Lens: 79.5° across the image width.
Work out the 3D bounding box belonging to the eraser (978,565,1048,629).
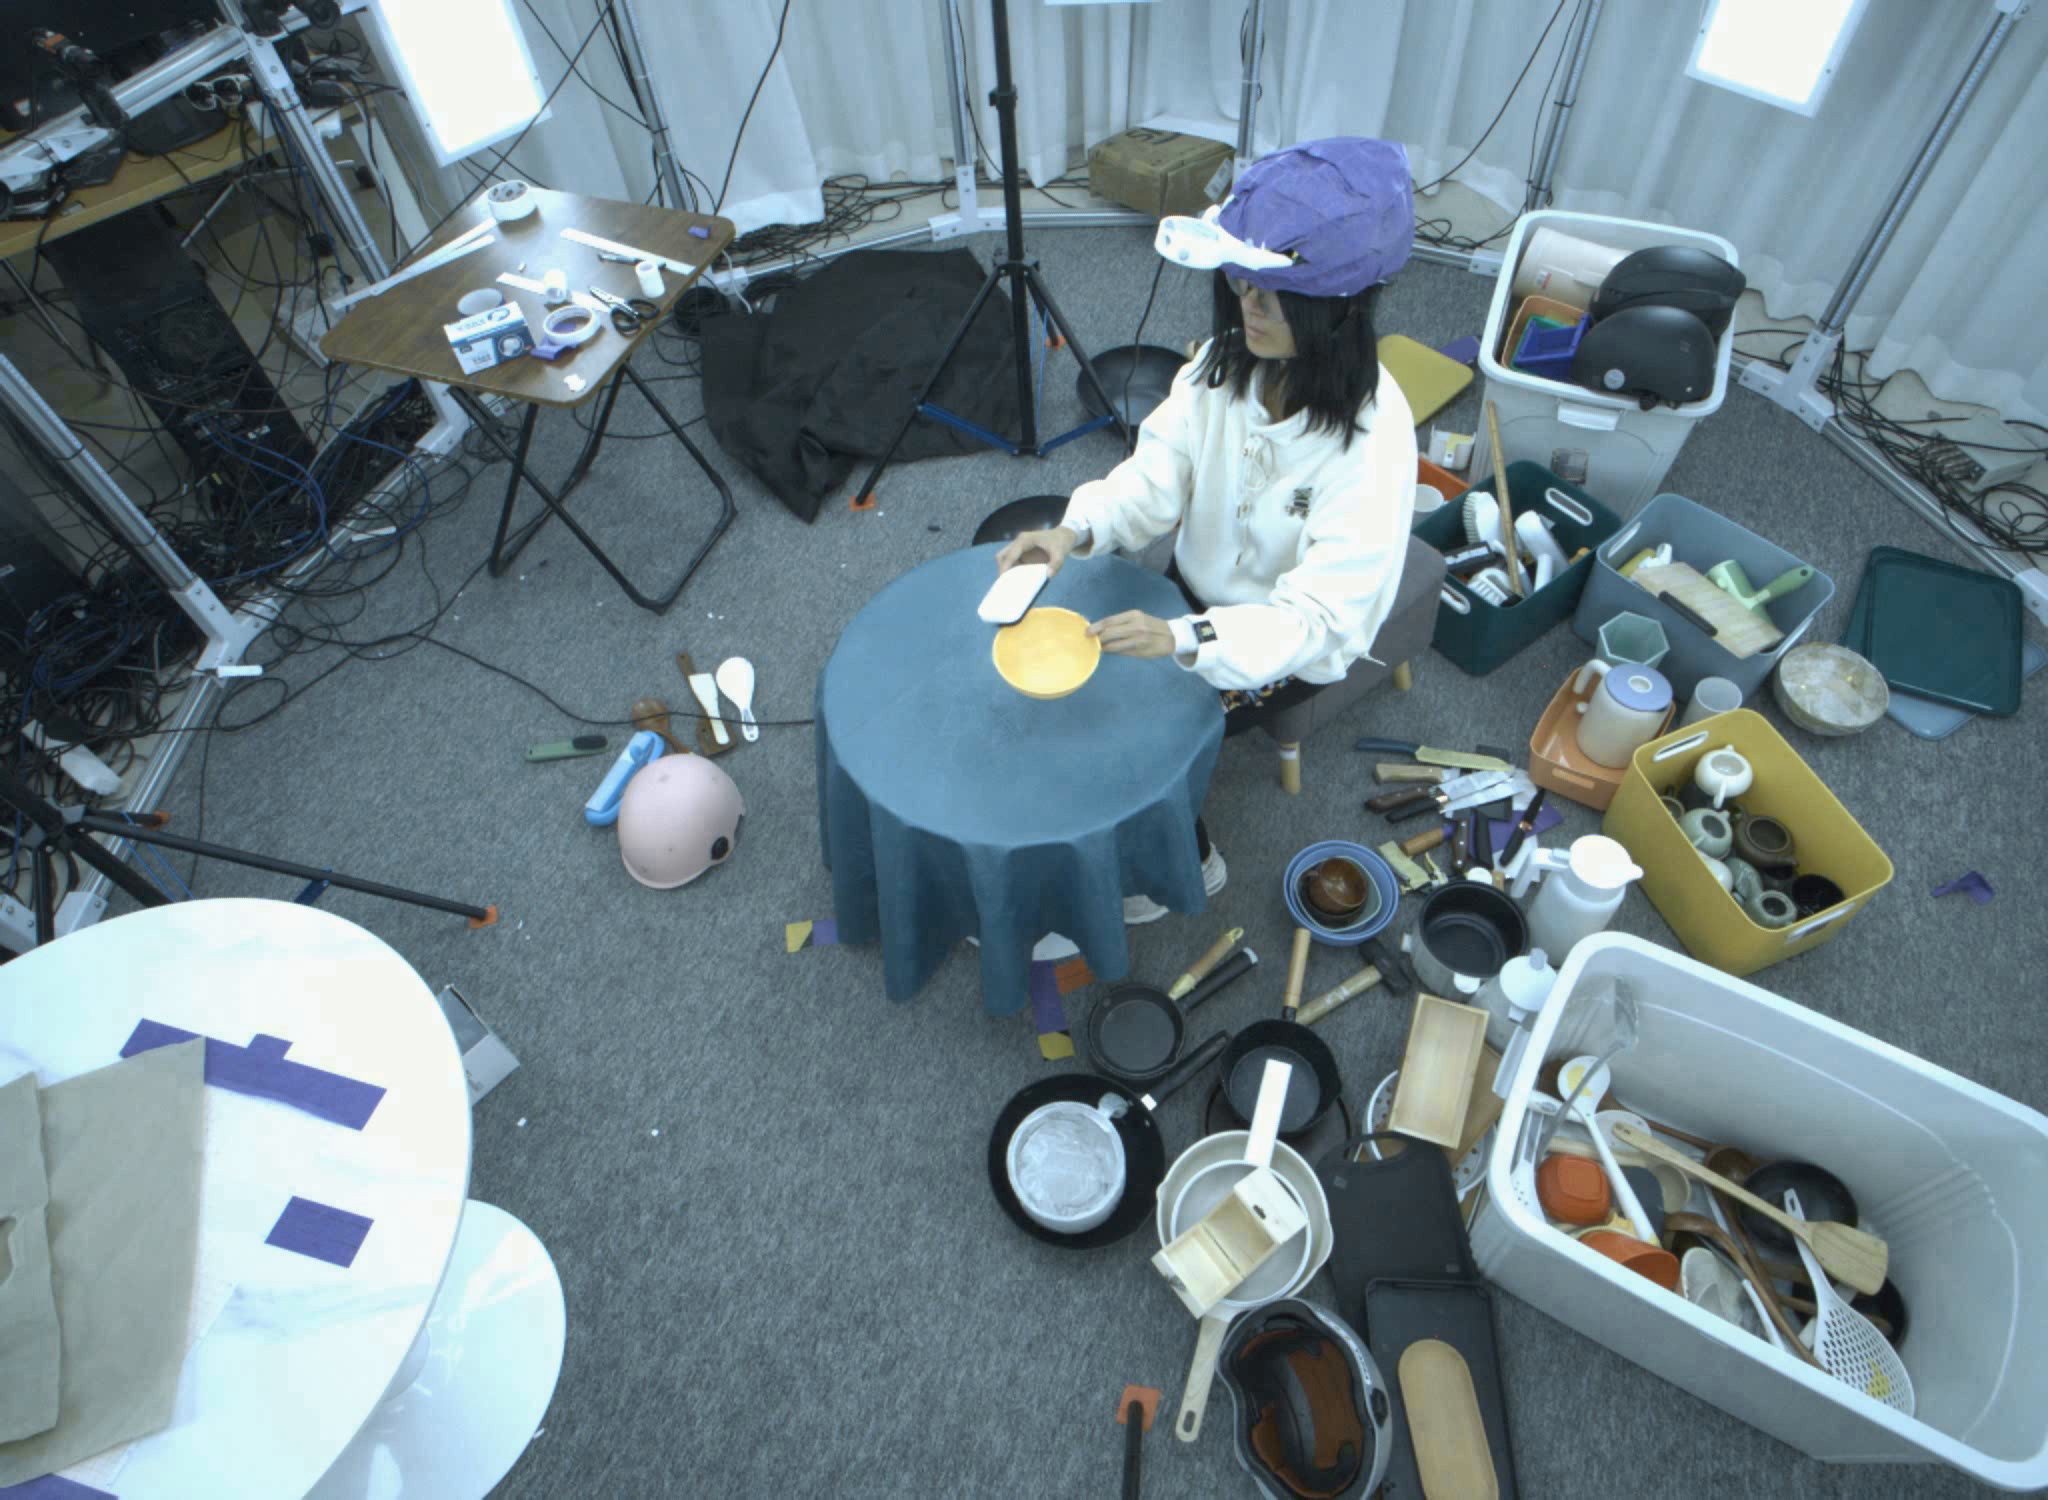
[{"bbox_3d":[-0.013,-0.215,1.696,0.062,0.035,0.131,3,42,27],"label":"eraser"}]

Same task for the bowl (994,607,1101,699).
[{"bbox_3d":[0.033,-0.121,1.678,0.145,0.061,0.144,-1,61,3],"label":"bowl"}]
